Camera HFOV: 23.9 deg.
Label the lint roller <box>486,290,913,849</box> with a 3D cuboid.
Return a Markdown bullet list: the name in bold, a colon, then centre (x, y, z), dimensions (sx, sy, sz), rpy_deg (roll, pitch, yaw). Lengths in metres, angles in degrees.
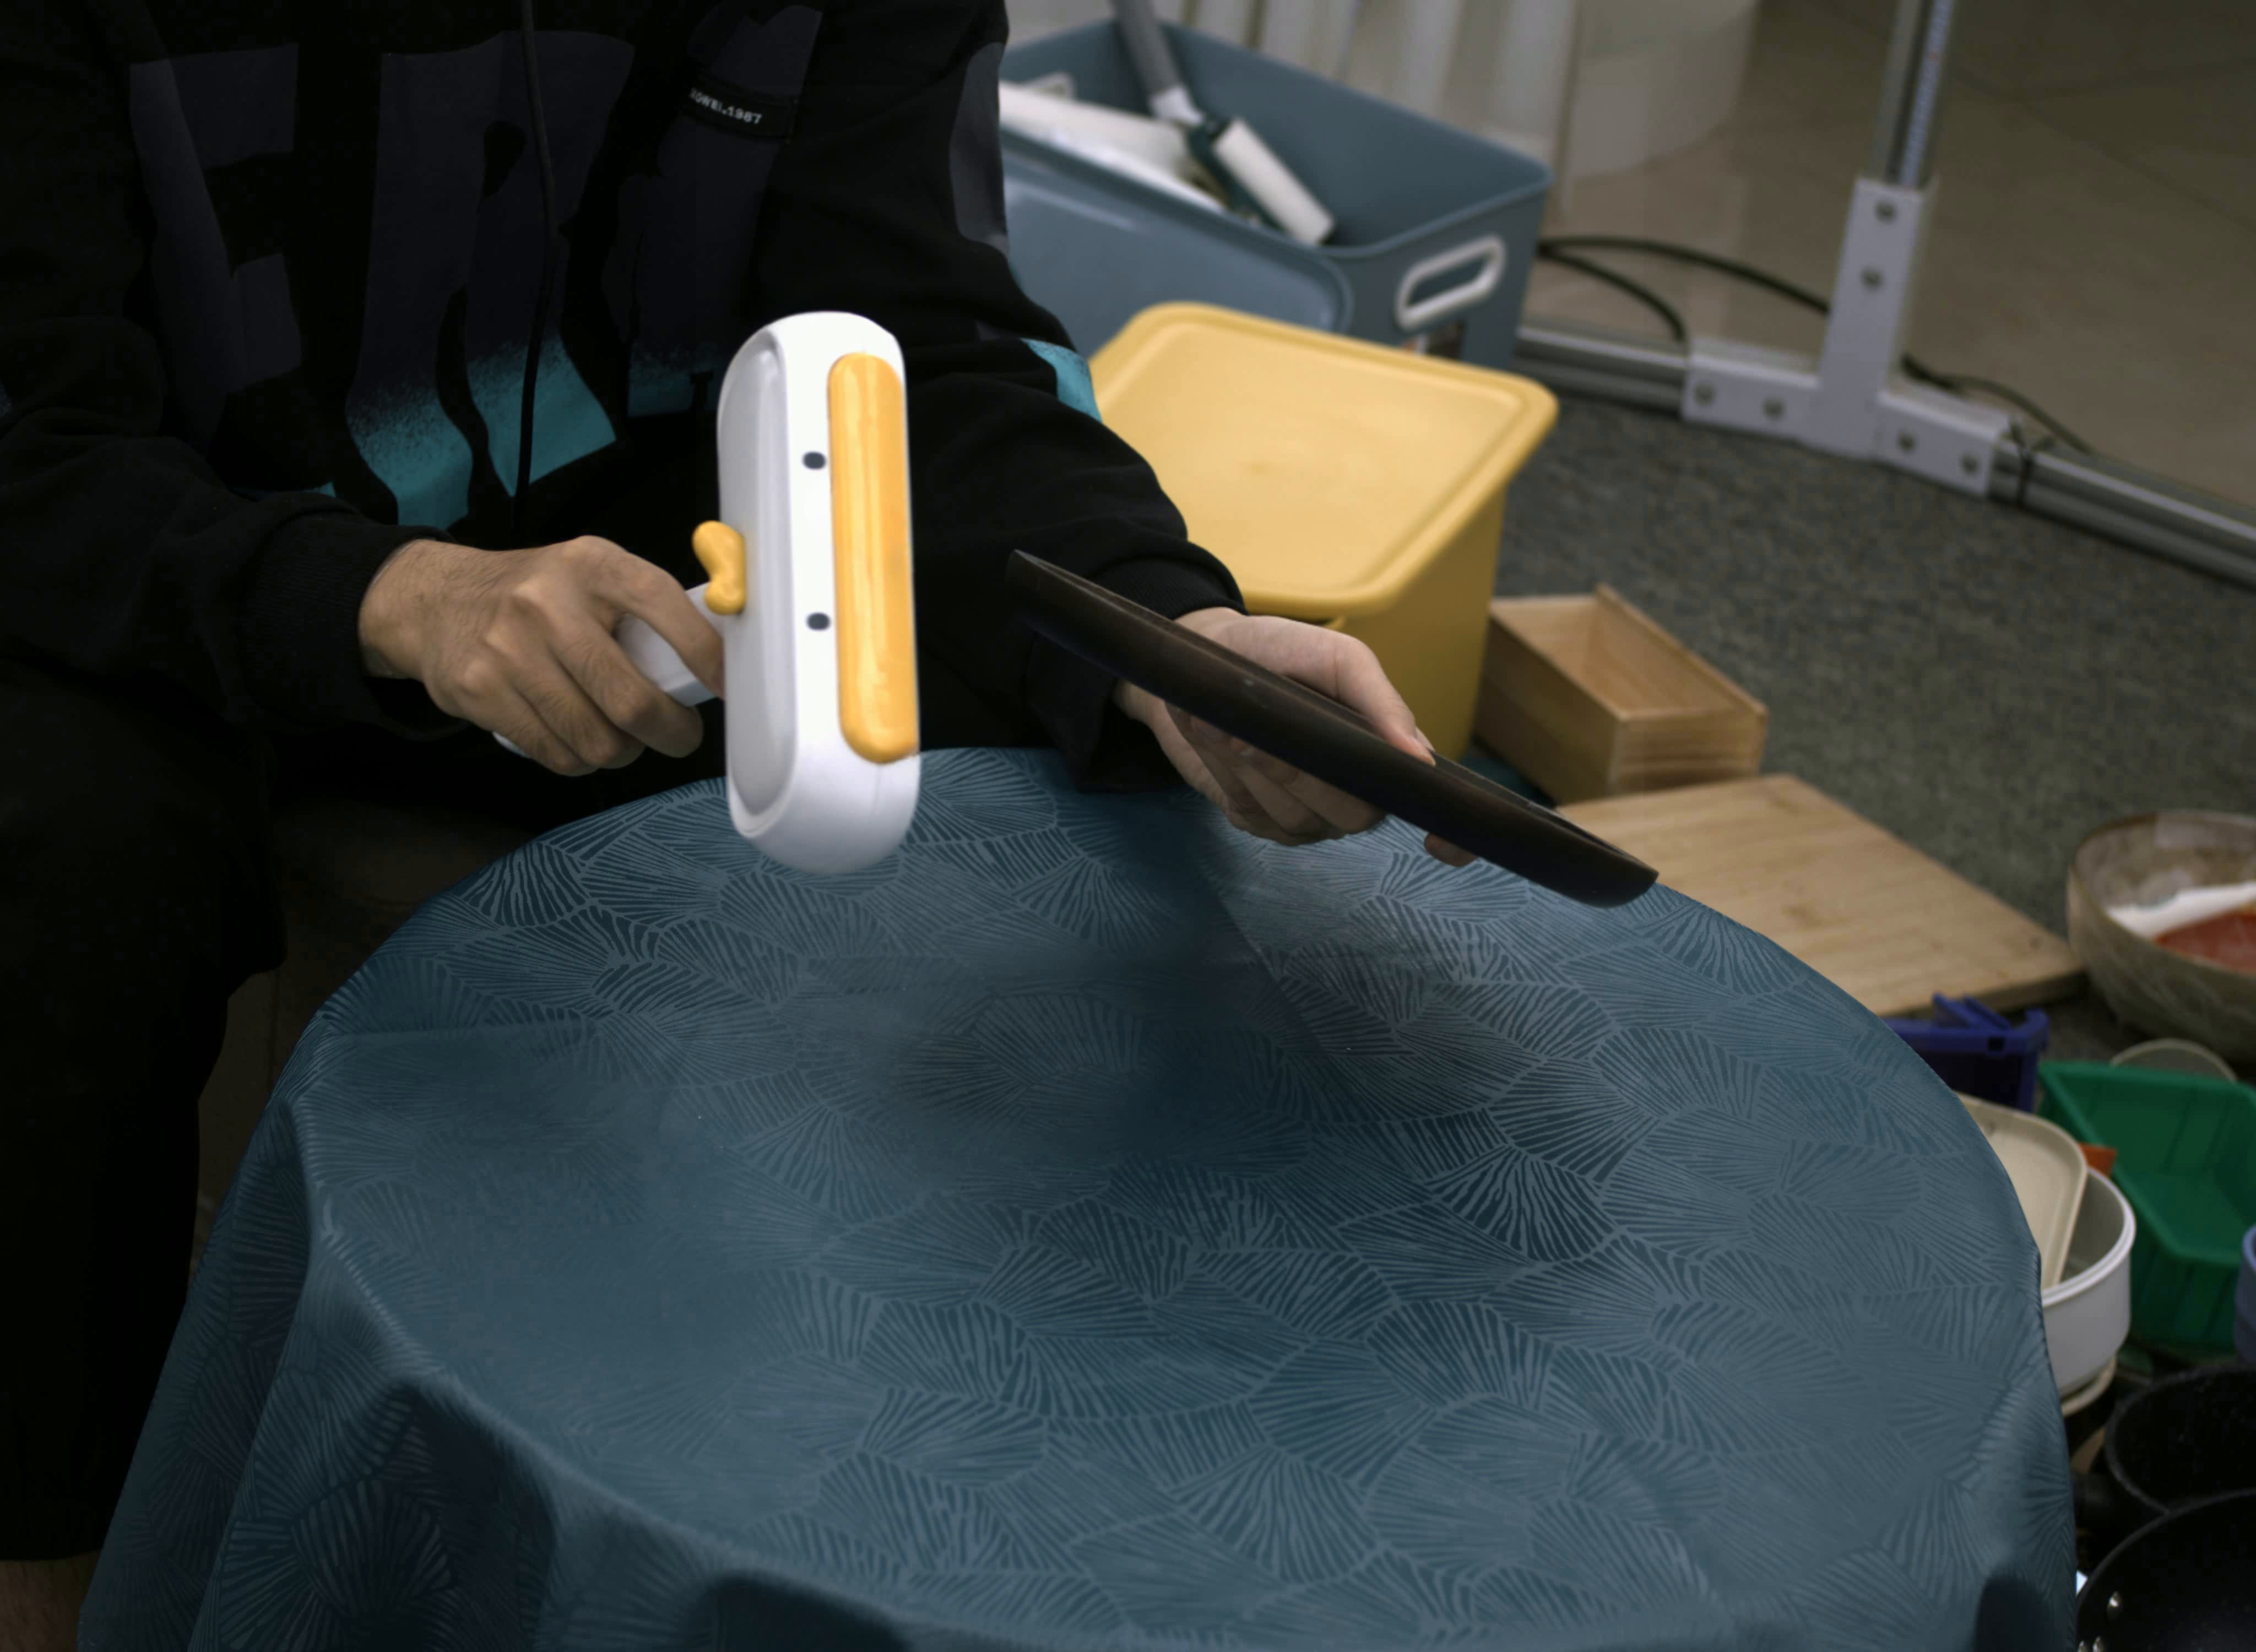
- **lint roller**: centre (-0.146, -0.064, 1.798), dimensions (0.073, 0.192, 0.194), rpy_deg (8, 62, -36)

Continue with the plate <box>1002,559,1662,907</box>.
- **plate**: centre (0.068, -0.032, 1.855), dimensions (0.254, 0.029, 0.255), rpy_deg (27, 1, -1)
